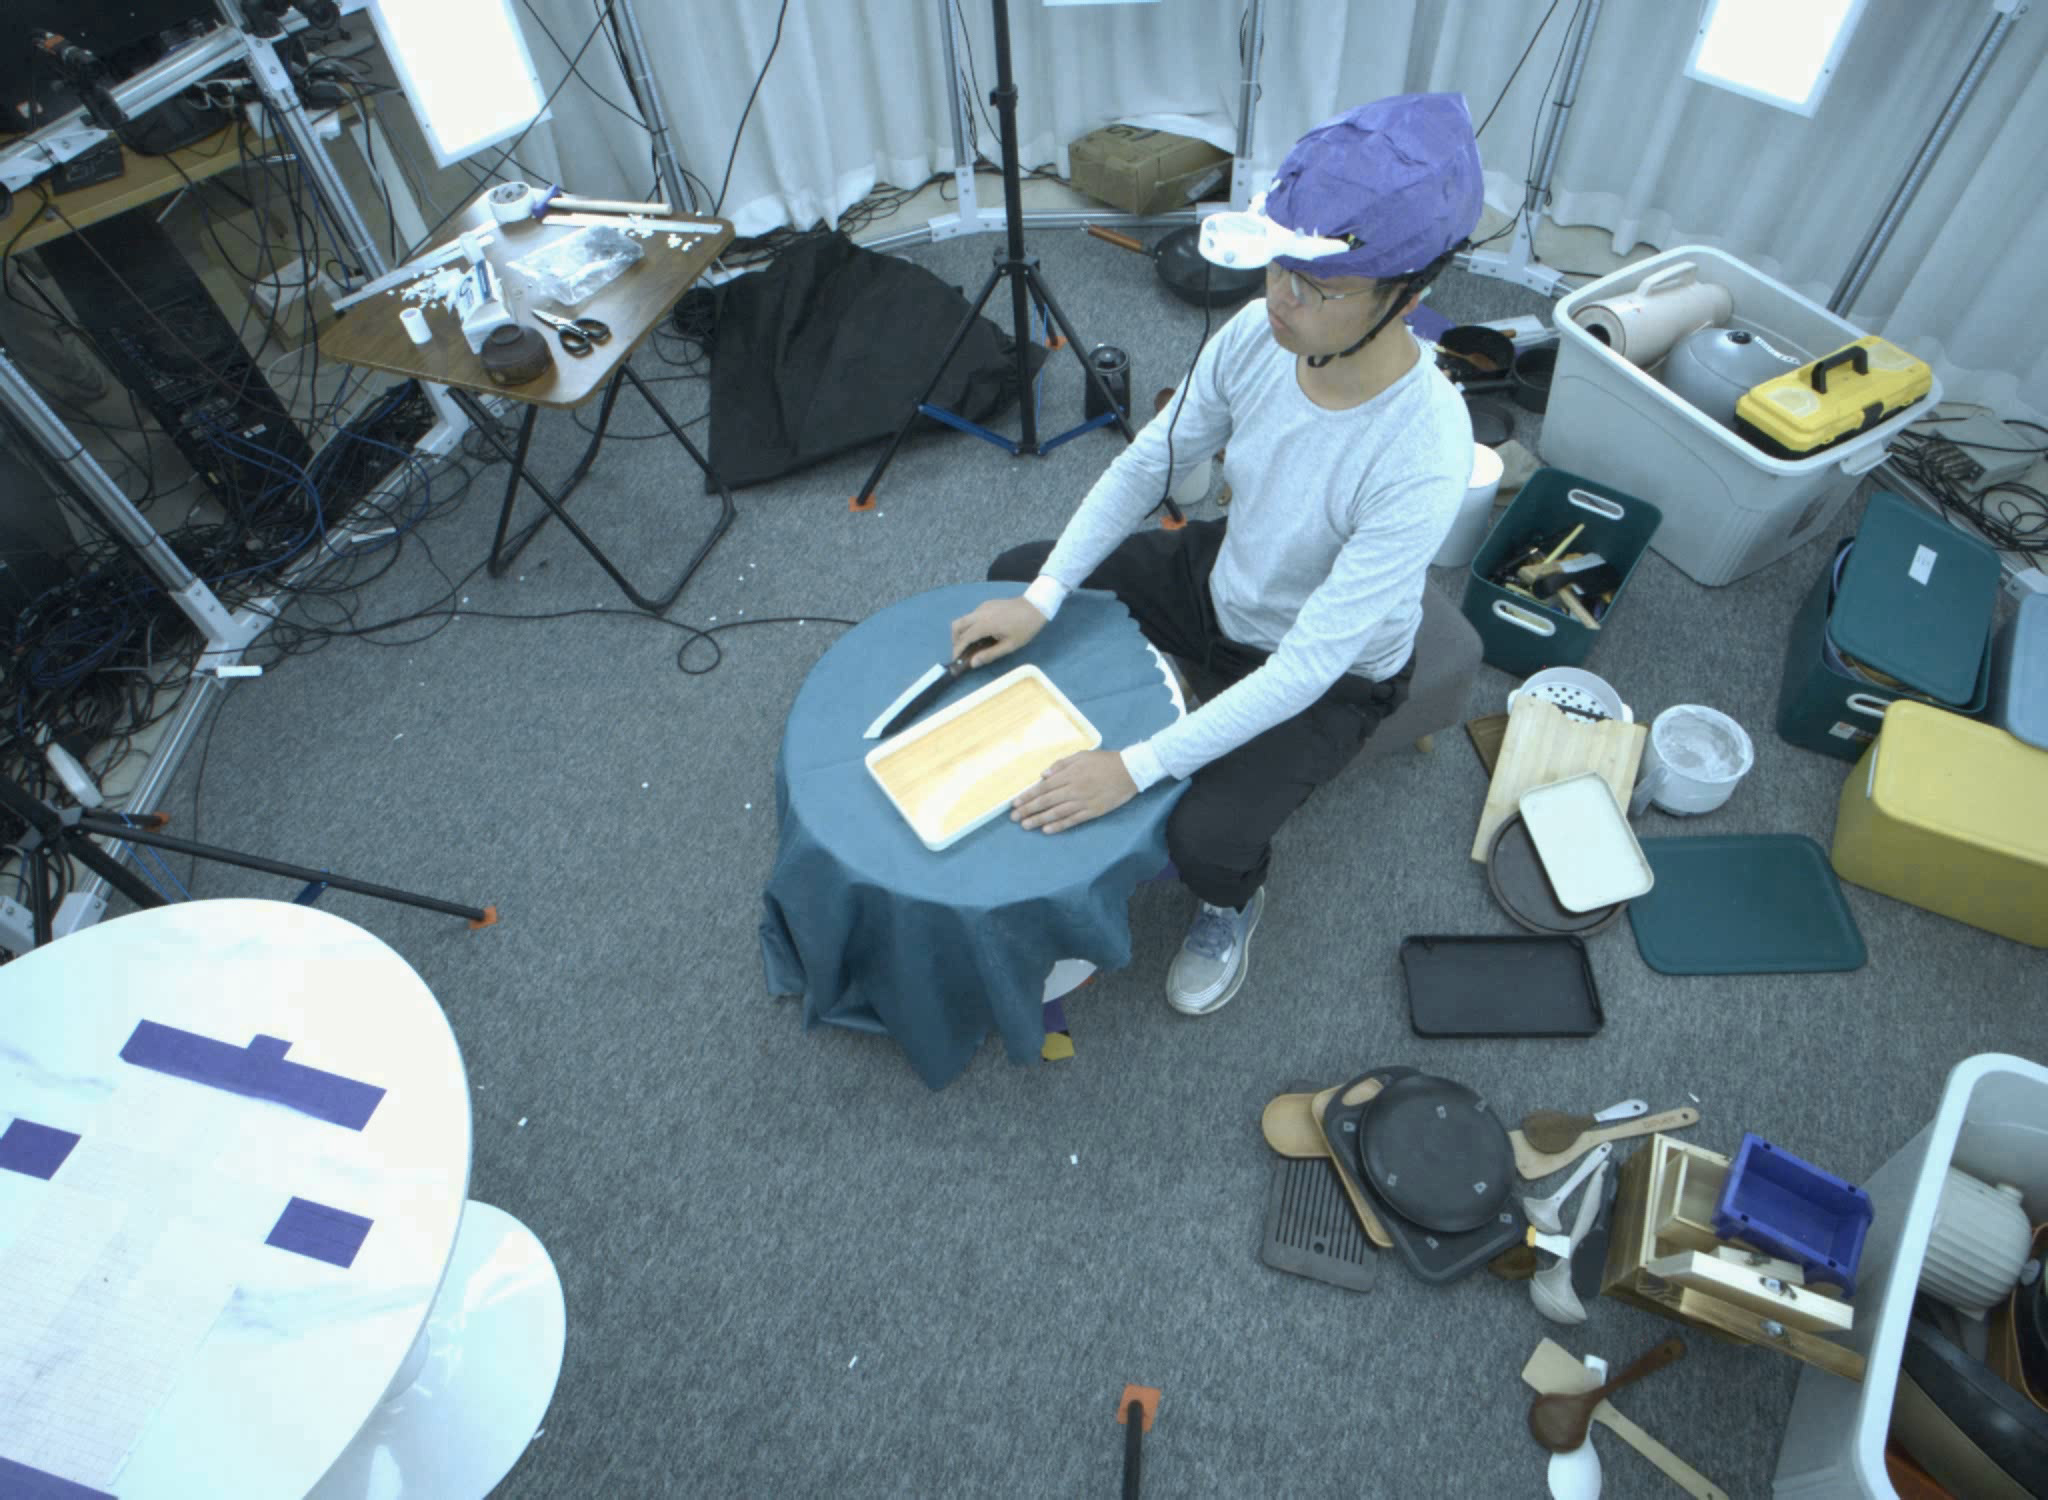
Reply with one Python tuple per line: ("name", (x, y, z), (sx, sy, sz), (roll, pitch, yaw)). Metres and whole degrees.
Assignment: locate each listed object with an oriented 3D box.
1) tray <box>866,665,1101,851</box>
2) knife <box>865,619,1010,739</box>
("tray", (-0.057, 0.006, 1.776), (0.303, 0.028, 0.188), (-30, 59, -19))
("knife", (-0.130, -0.107, 1.857), (0.291, 0.020, 0.049), (-41, 54, -19))
